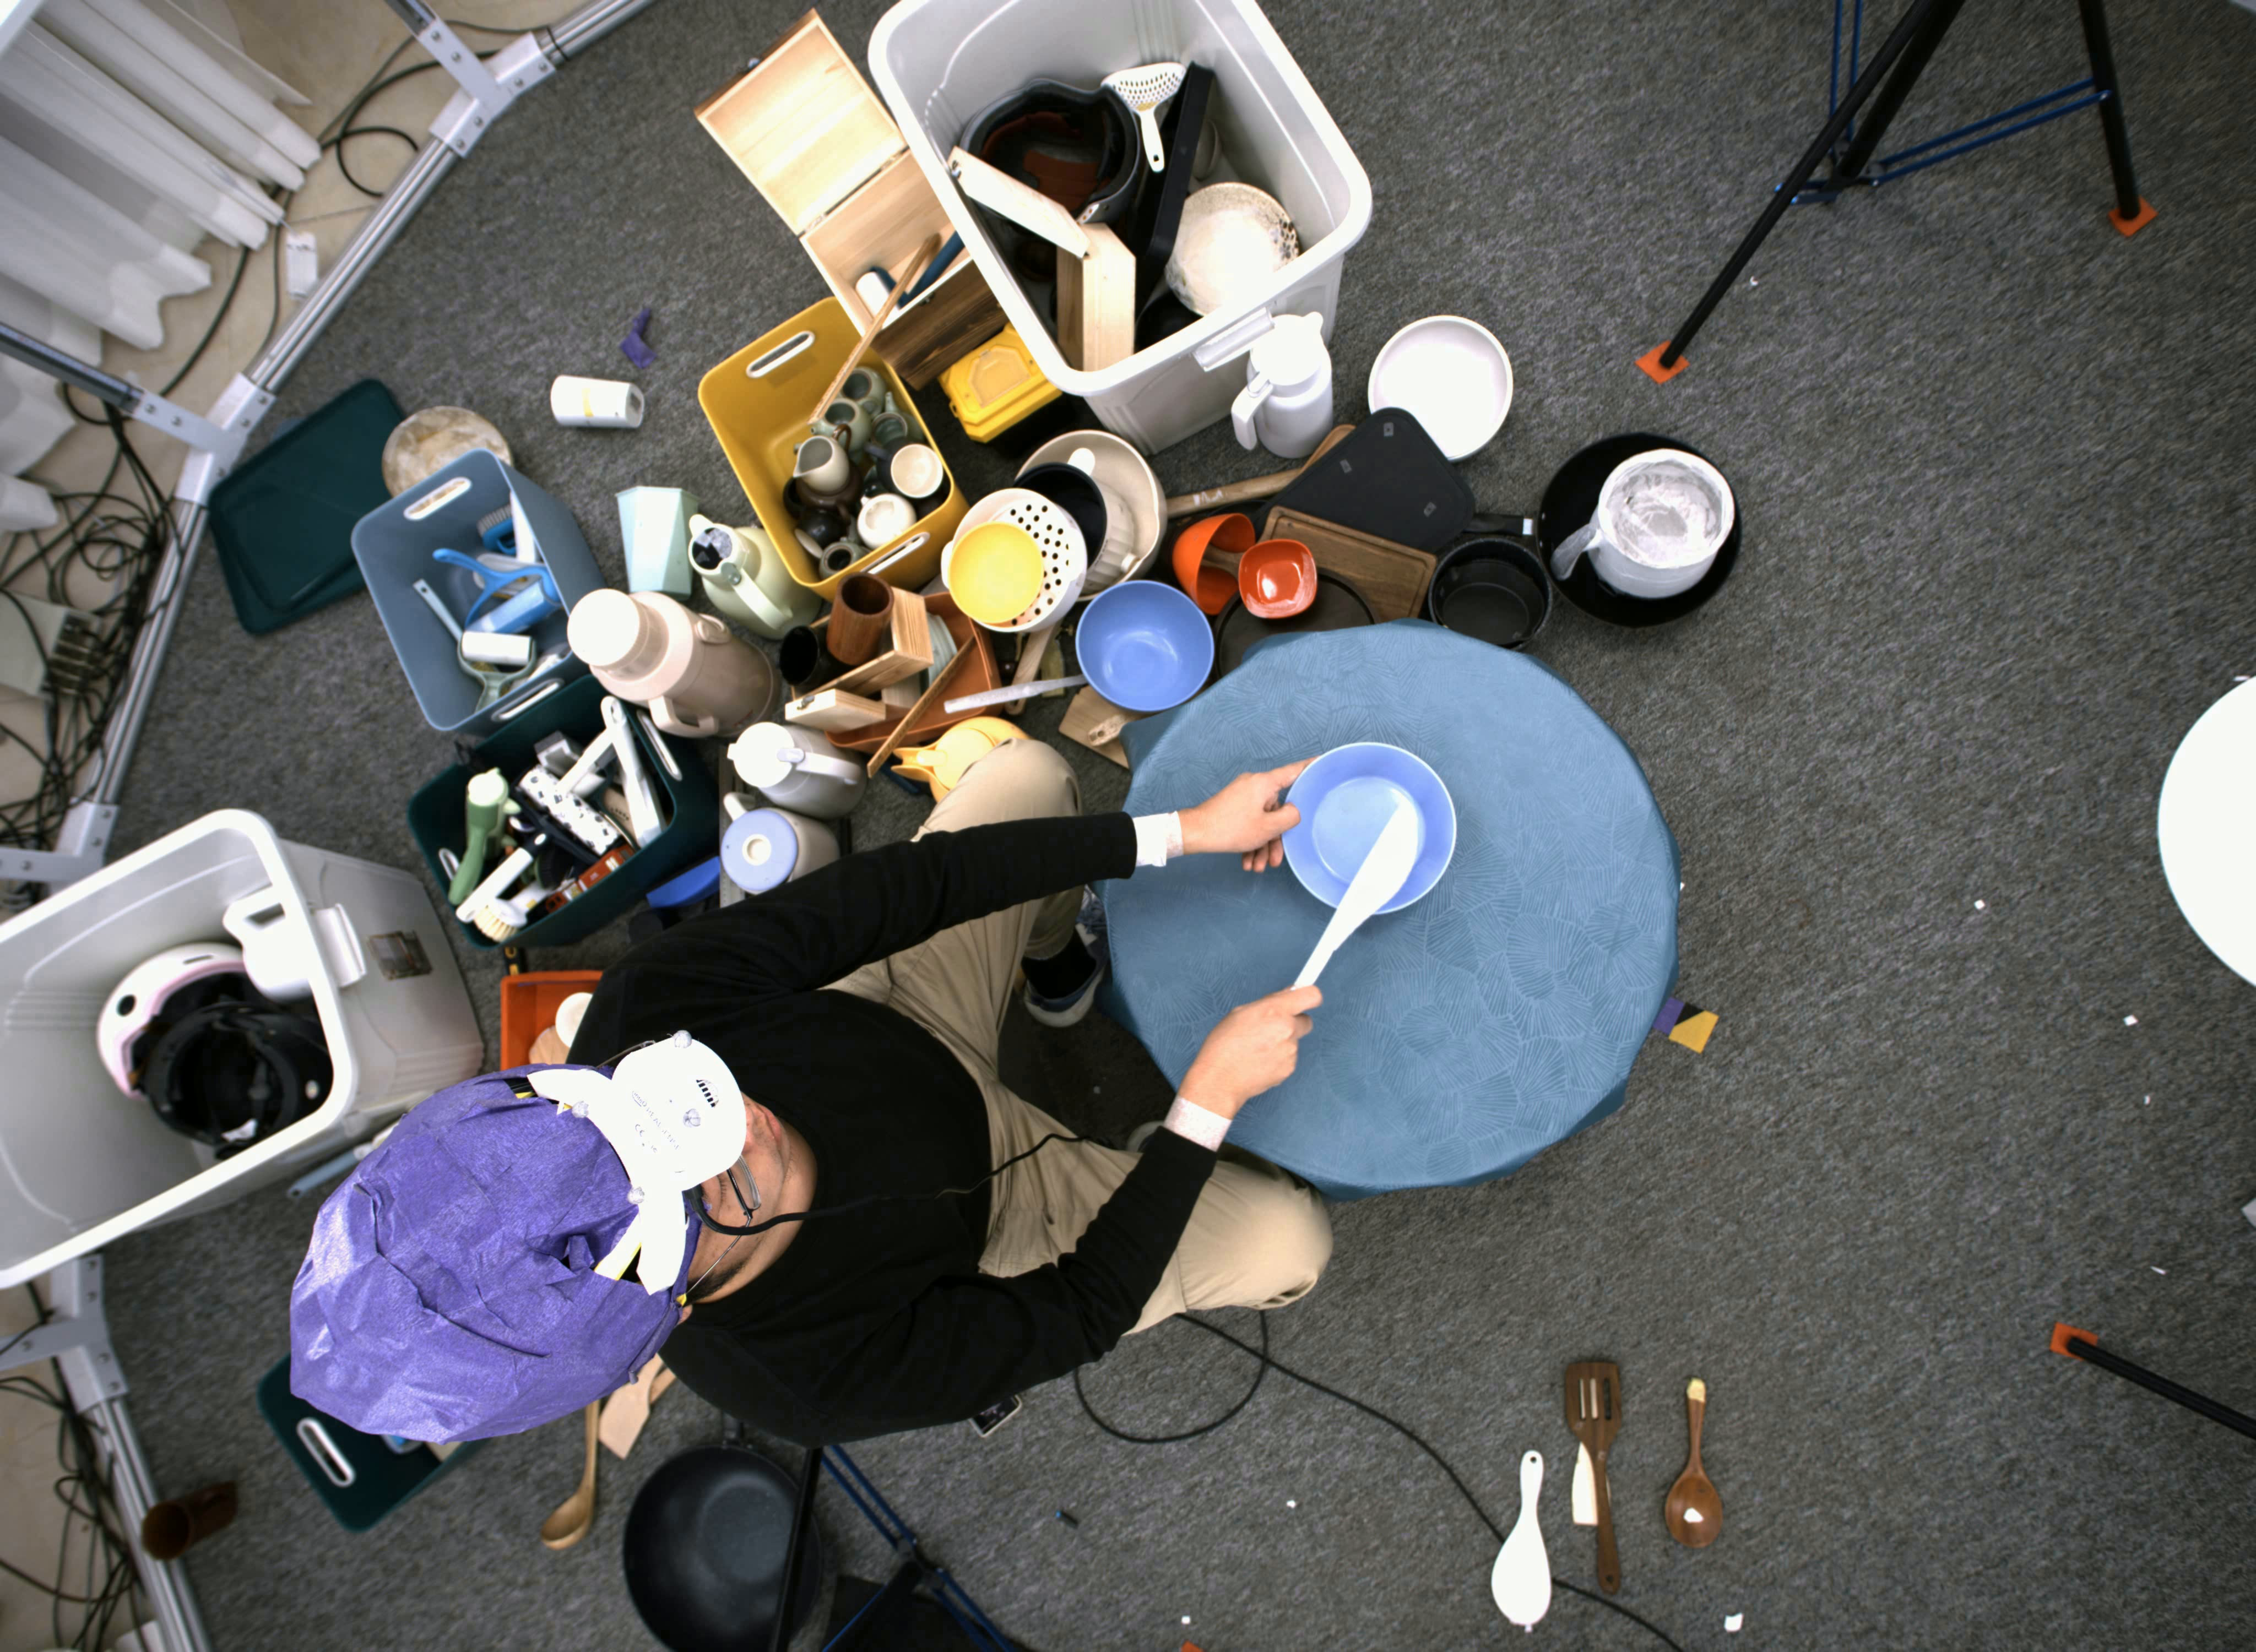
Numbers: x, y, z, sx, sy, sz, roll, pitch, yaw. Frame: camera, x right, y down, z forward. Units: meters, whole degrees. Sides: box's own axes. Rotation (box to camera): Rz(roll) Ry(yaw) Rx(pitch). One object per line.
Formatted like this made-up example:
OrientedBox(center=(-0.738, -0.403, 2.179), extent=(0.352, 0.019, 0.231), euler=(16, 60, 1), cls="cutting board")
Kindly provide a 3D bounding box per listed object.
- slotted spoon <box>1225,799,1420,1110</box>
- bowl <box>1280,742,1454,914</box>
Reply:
OrientedBox(center=(0.191, 0.128, 1.361), extent=(0.045, 0.135, 0.351), euler=(36, 96, 8), cls="slotted spoon")
OrientedBox(center=(0.248, 0.003, 1.431), extent=(0.177, 0.070, 0.175), euler=(0, 89, 12), cls="bowl")
